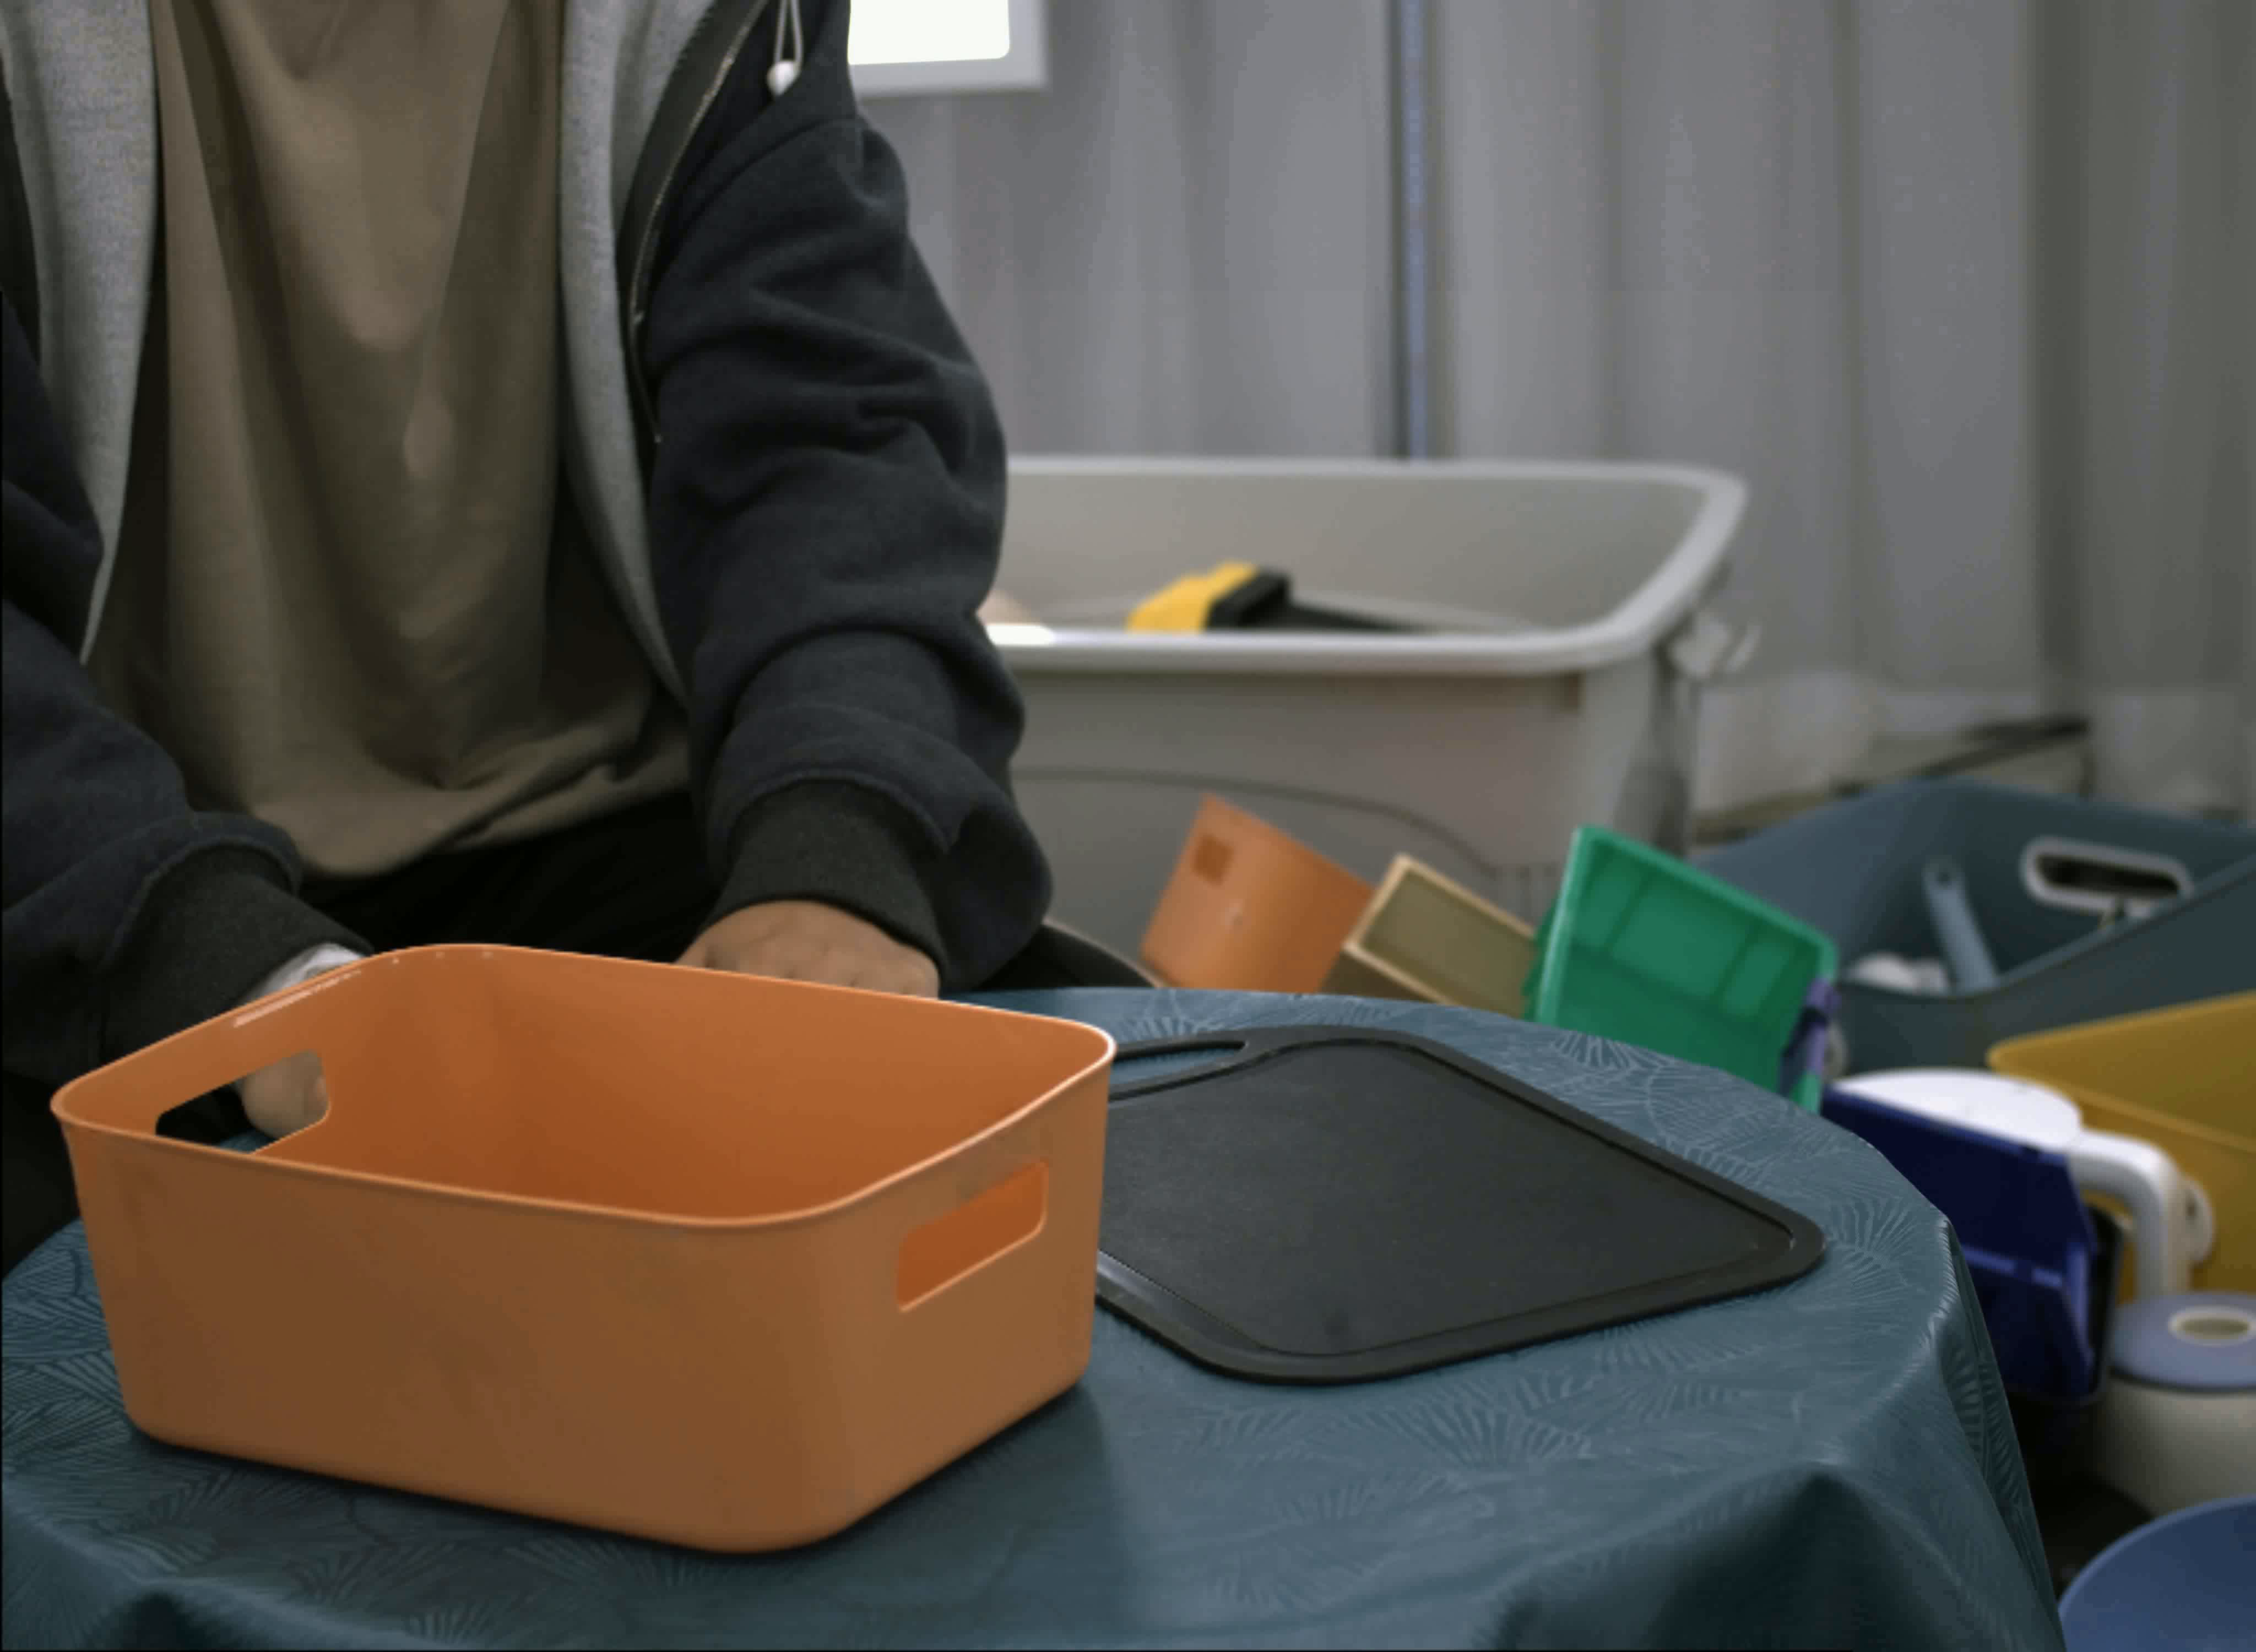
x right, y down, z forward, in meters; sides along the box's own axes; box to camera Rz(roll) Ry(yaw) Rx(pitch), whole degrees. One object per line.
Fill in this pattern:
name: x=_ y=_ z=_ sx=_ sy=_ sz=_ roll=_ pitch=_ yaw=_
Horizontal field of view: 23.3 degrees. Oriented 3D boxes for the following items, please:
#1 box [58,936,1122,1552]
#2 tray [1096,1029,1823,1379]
box: x=-0.148 y=0.114 z=1.544 sx=0.274 sy=0.102 sz=0.199 roll=6 pitch=18 yaw=31
tray: x=0.056 y=0.111 z=1.708 sx=0.210 sy=0.010 sz=0.328 roll=-10 pitch=16 yaw=-26
